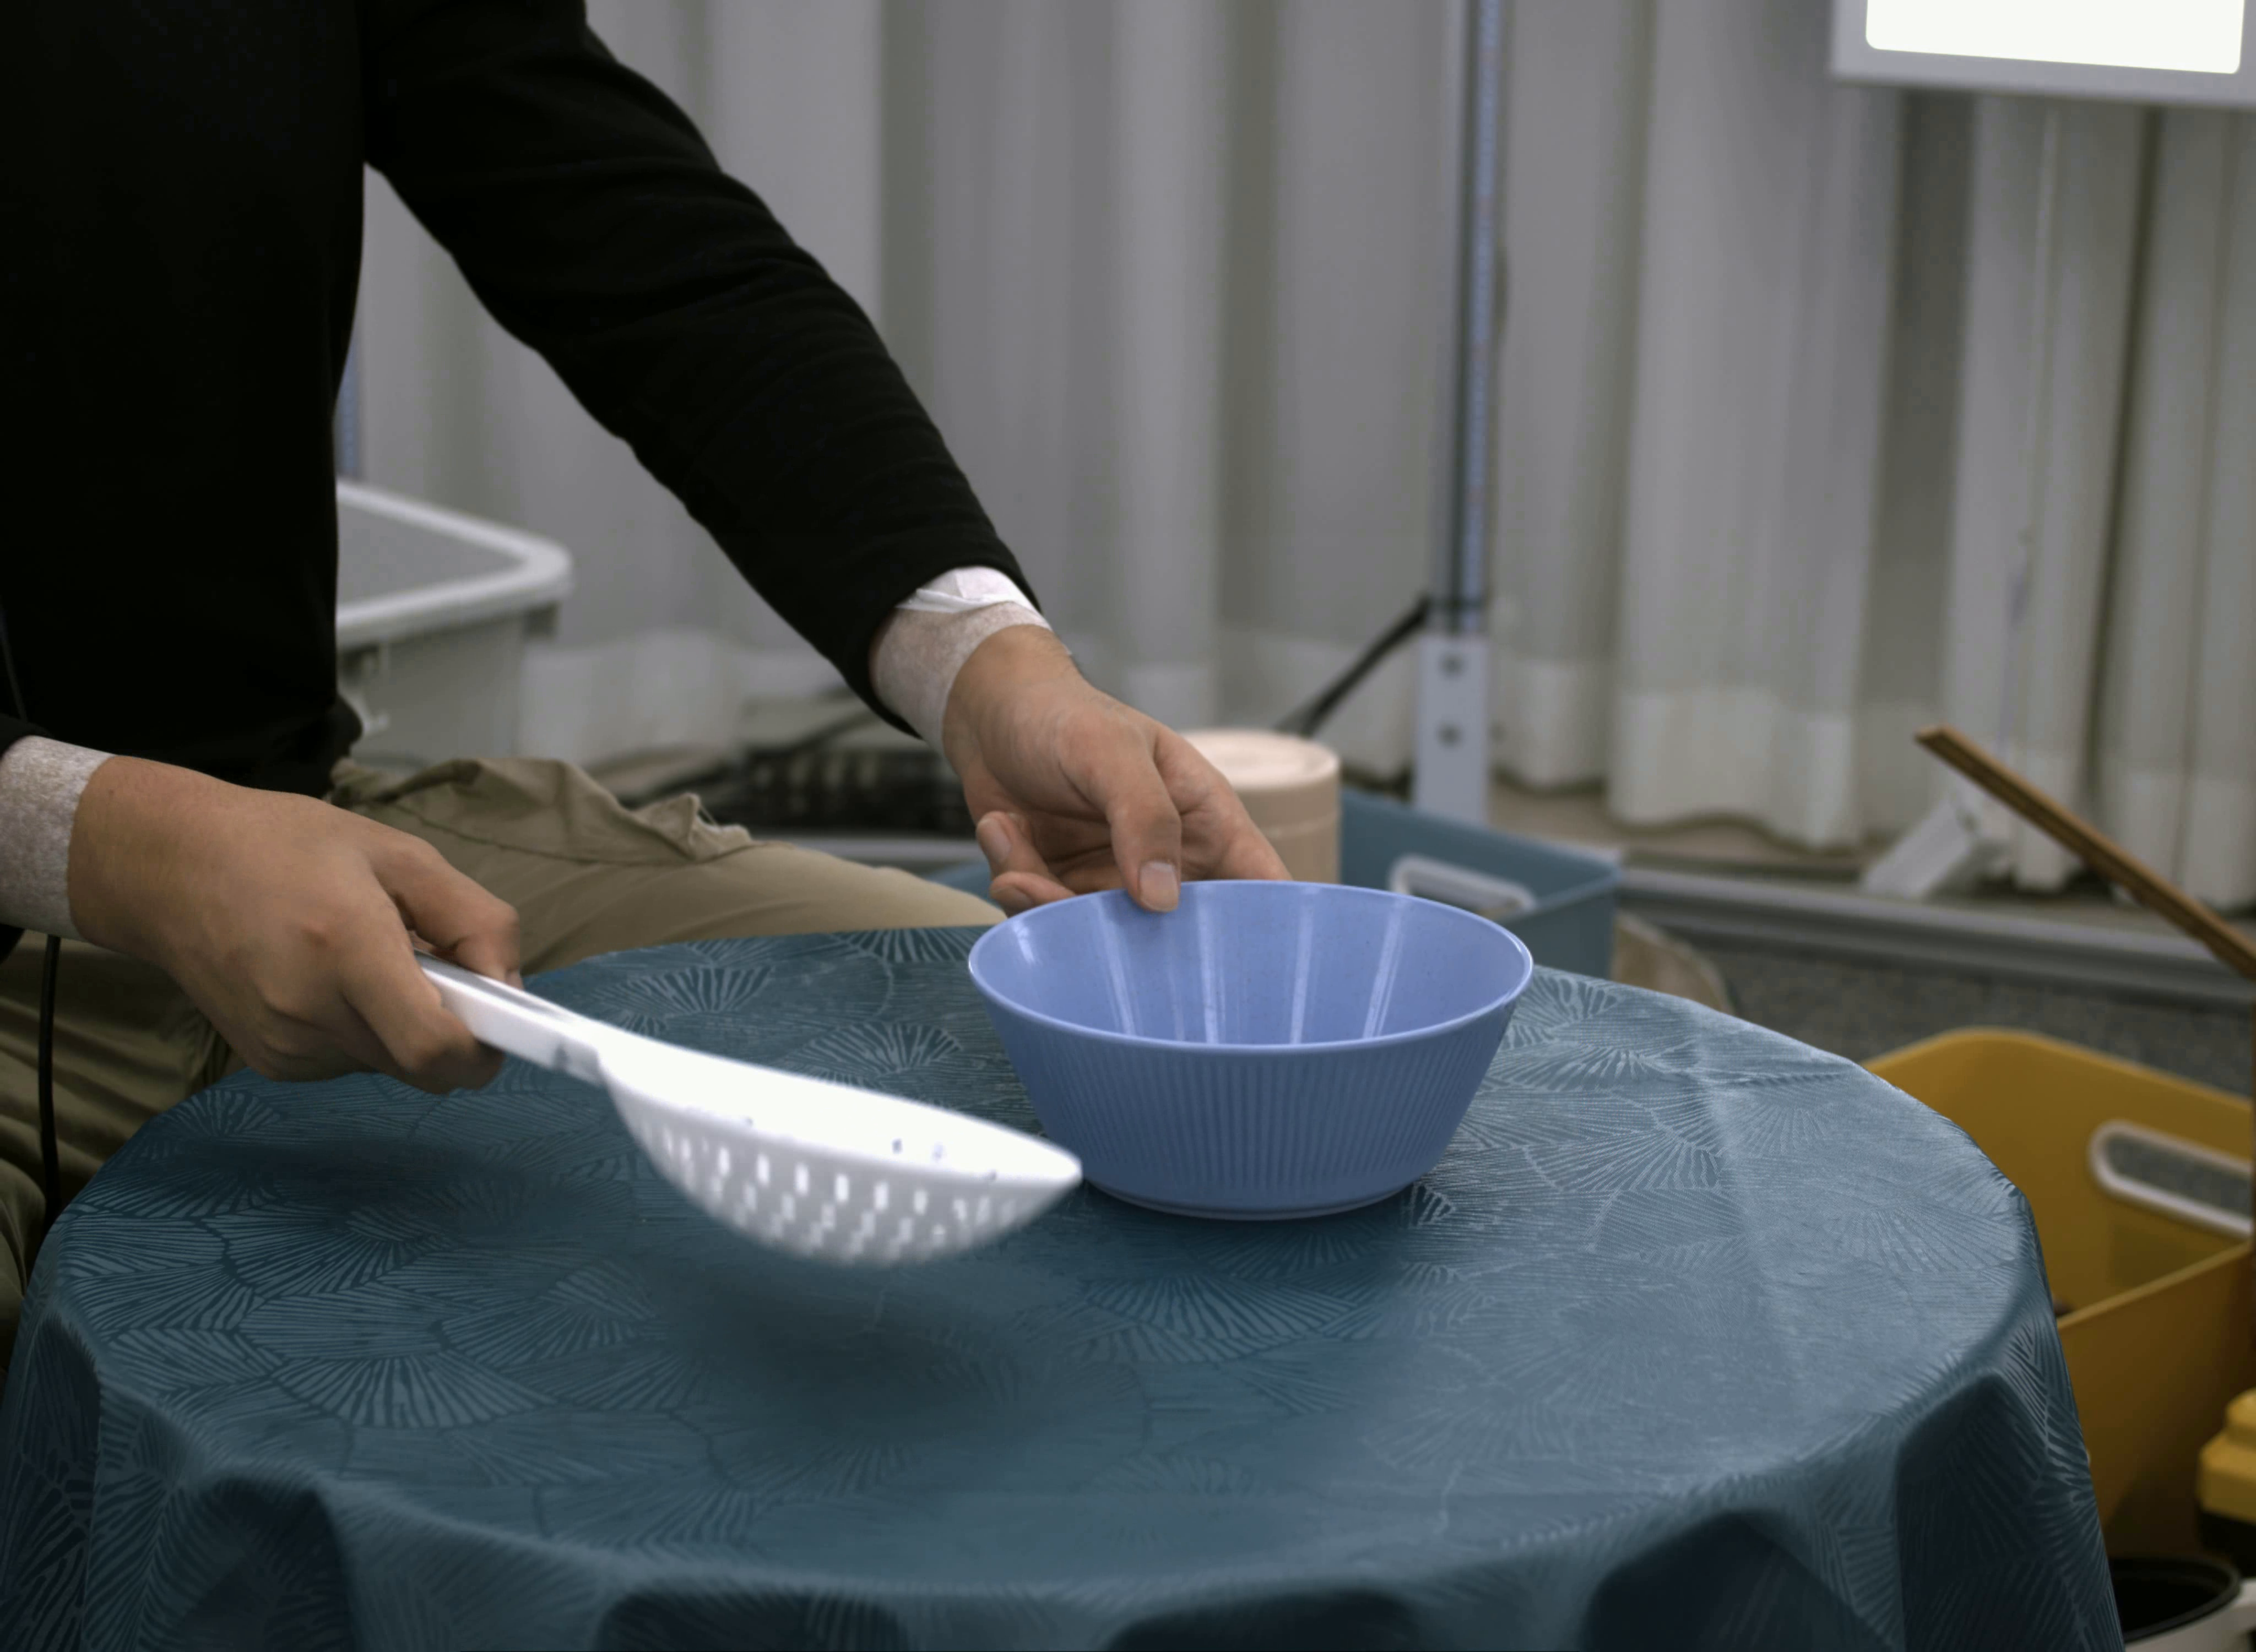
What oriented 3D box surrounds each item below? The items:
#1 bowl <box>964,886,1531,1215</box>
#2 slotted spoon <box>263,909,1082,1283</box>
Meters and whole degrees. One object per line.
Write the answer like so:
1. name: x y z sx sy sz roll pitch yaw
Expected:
1. bowl: 0.037 0.072 1.638 0.175 0.071 0.175 0 15 1
2. slotted spoon: -0.151 0.070 1.532 0.137 0.046 0.345 7 12 -43
